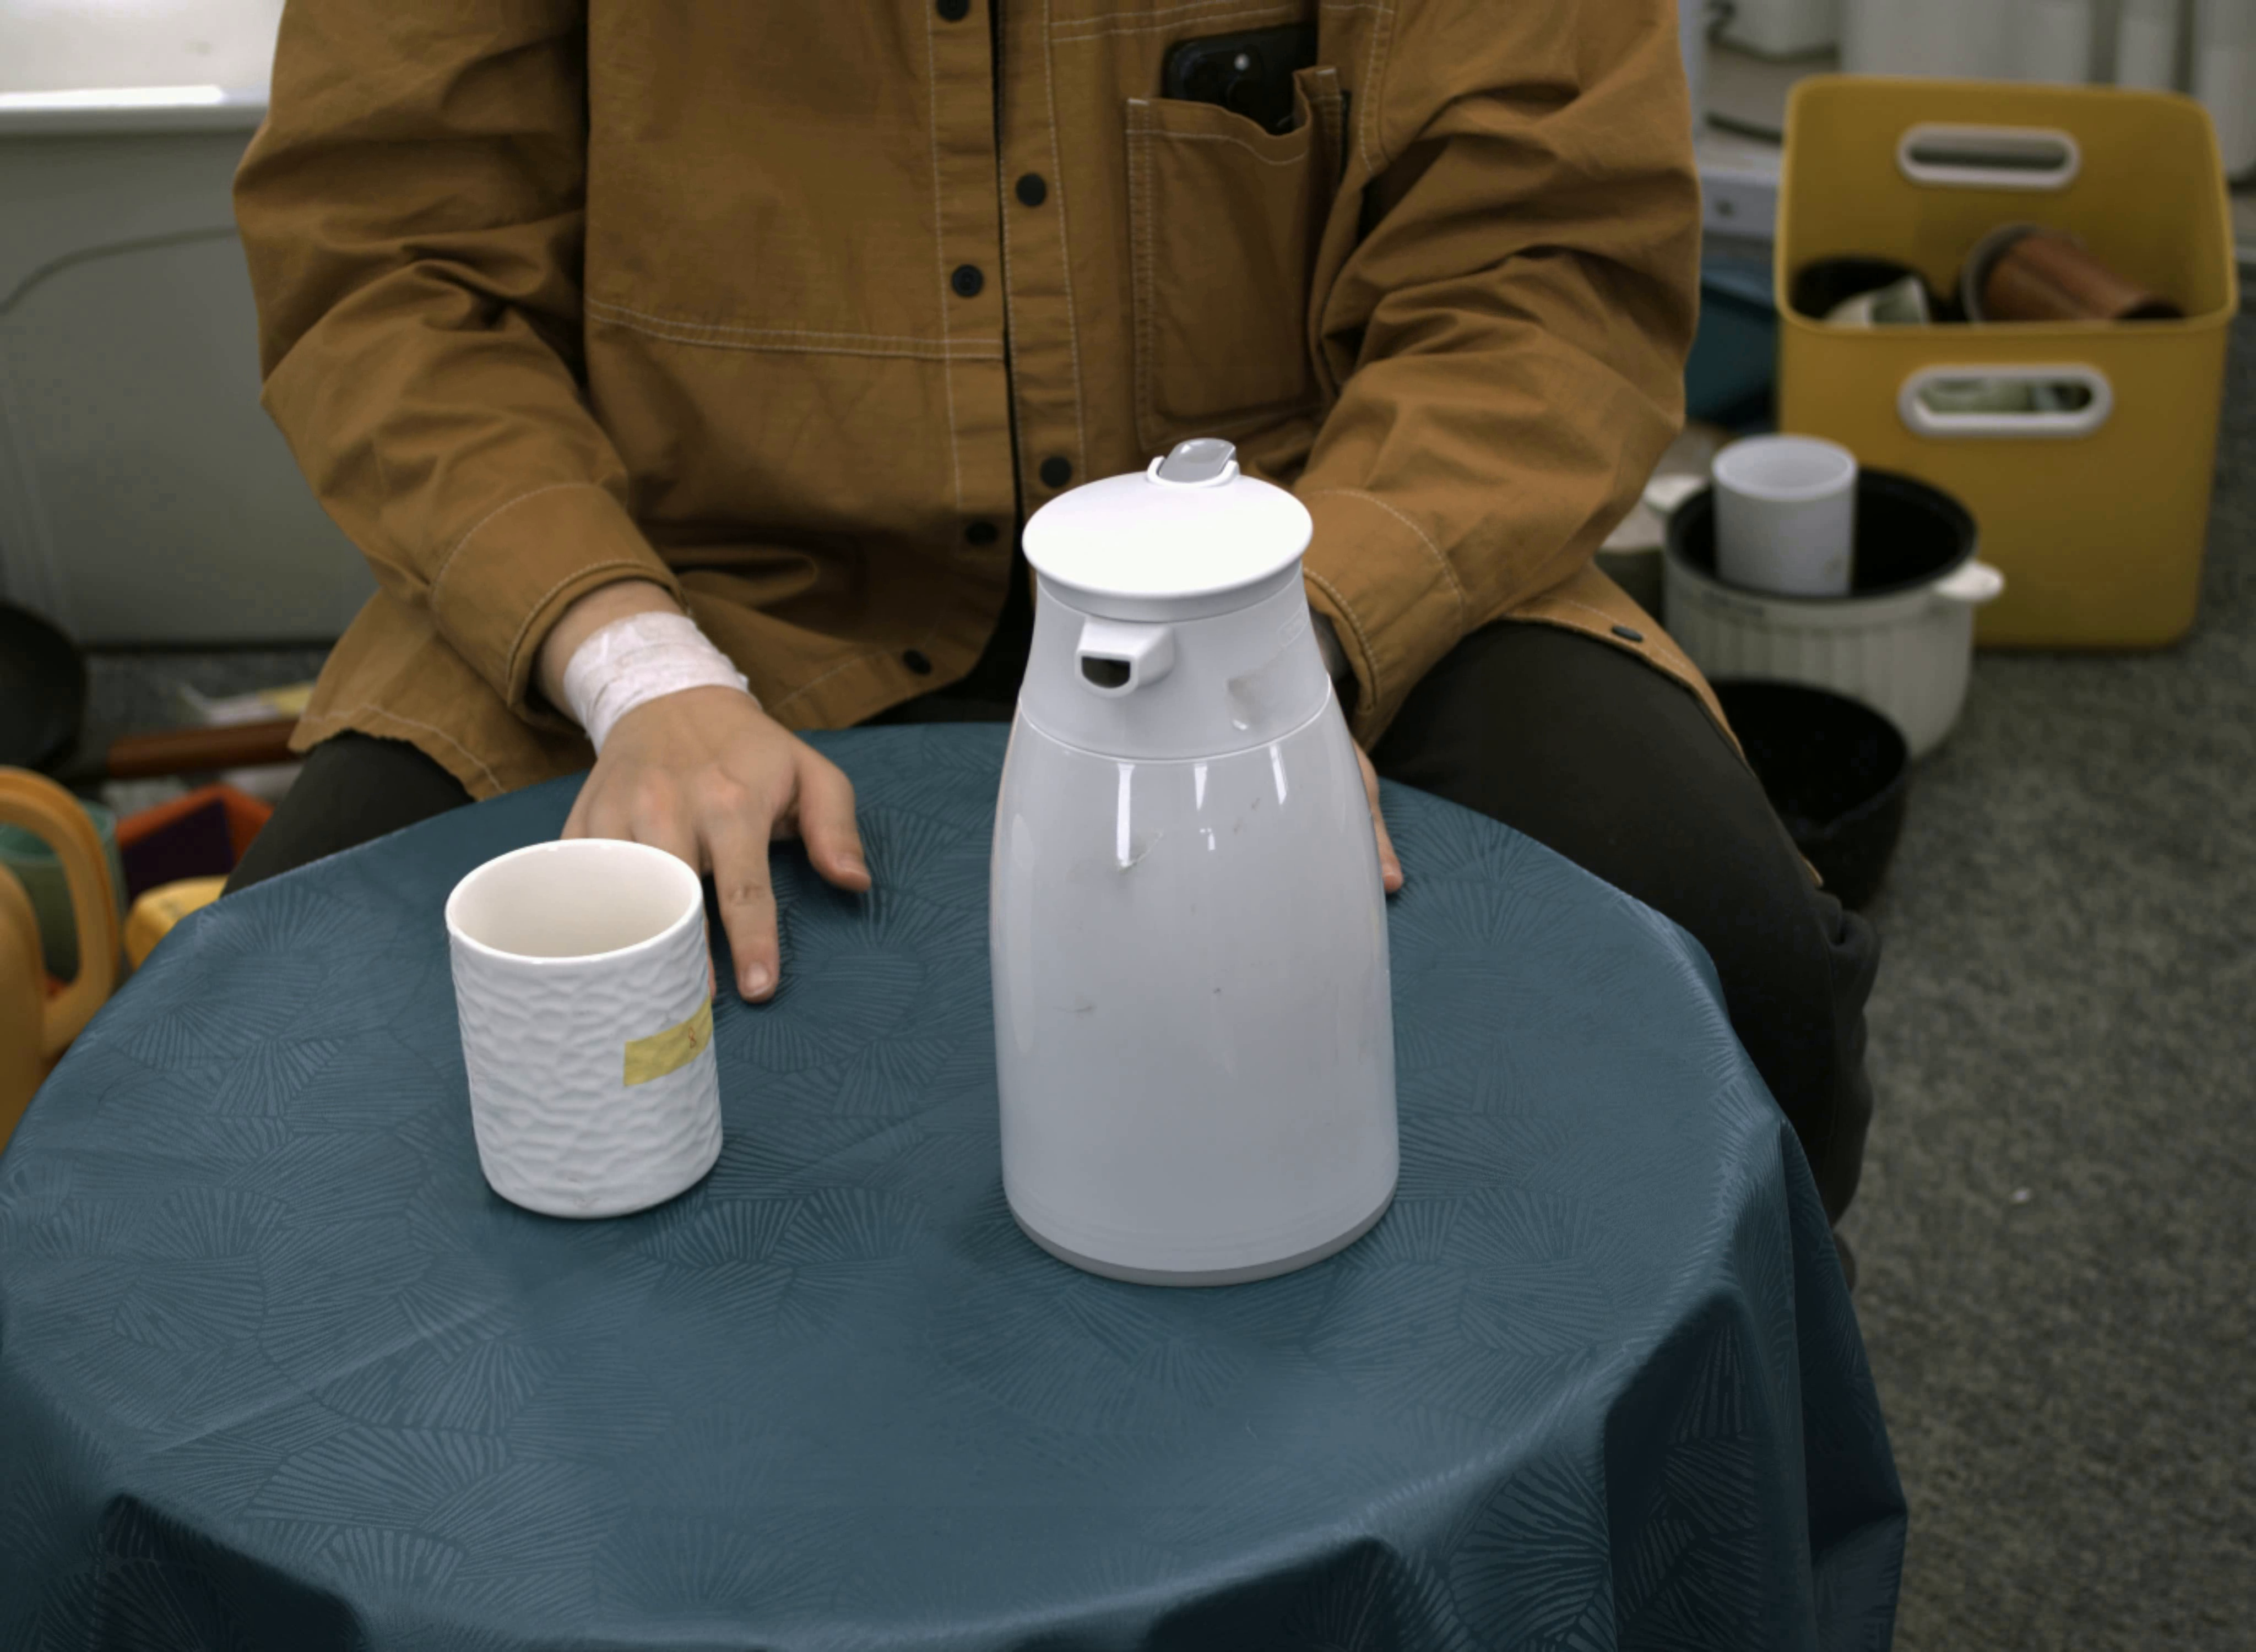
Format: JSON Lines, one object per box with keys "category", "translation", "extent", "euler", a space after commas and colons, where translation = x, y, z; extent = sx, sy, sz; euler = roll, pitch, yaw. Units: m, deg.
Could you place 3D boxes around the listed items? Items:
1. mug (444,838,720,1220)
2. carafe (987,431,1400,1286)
{"category": "mug", "translation": [-0.189, 0.063, 1.882], "extent": [0.085, 0.101, 0.118], "euler": [-19, 30, -30]}
{"category": "carafe", "translation": [0.022, 0.000, 1.826], "extent": [0.131, 0.246, 0.170], "euler": [4, 27, 17]}
